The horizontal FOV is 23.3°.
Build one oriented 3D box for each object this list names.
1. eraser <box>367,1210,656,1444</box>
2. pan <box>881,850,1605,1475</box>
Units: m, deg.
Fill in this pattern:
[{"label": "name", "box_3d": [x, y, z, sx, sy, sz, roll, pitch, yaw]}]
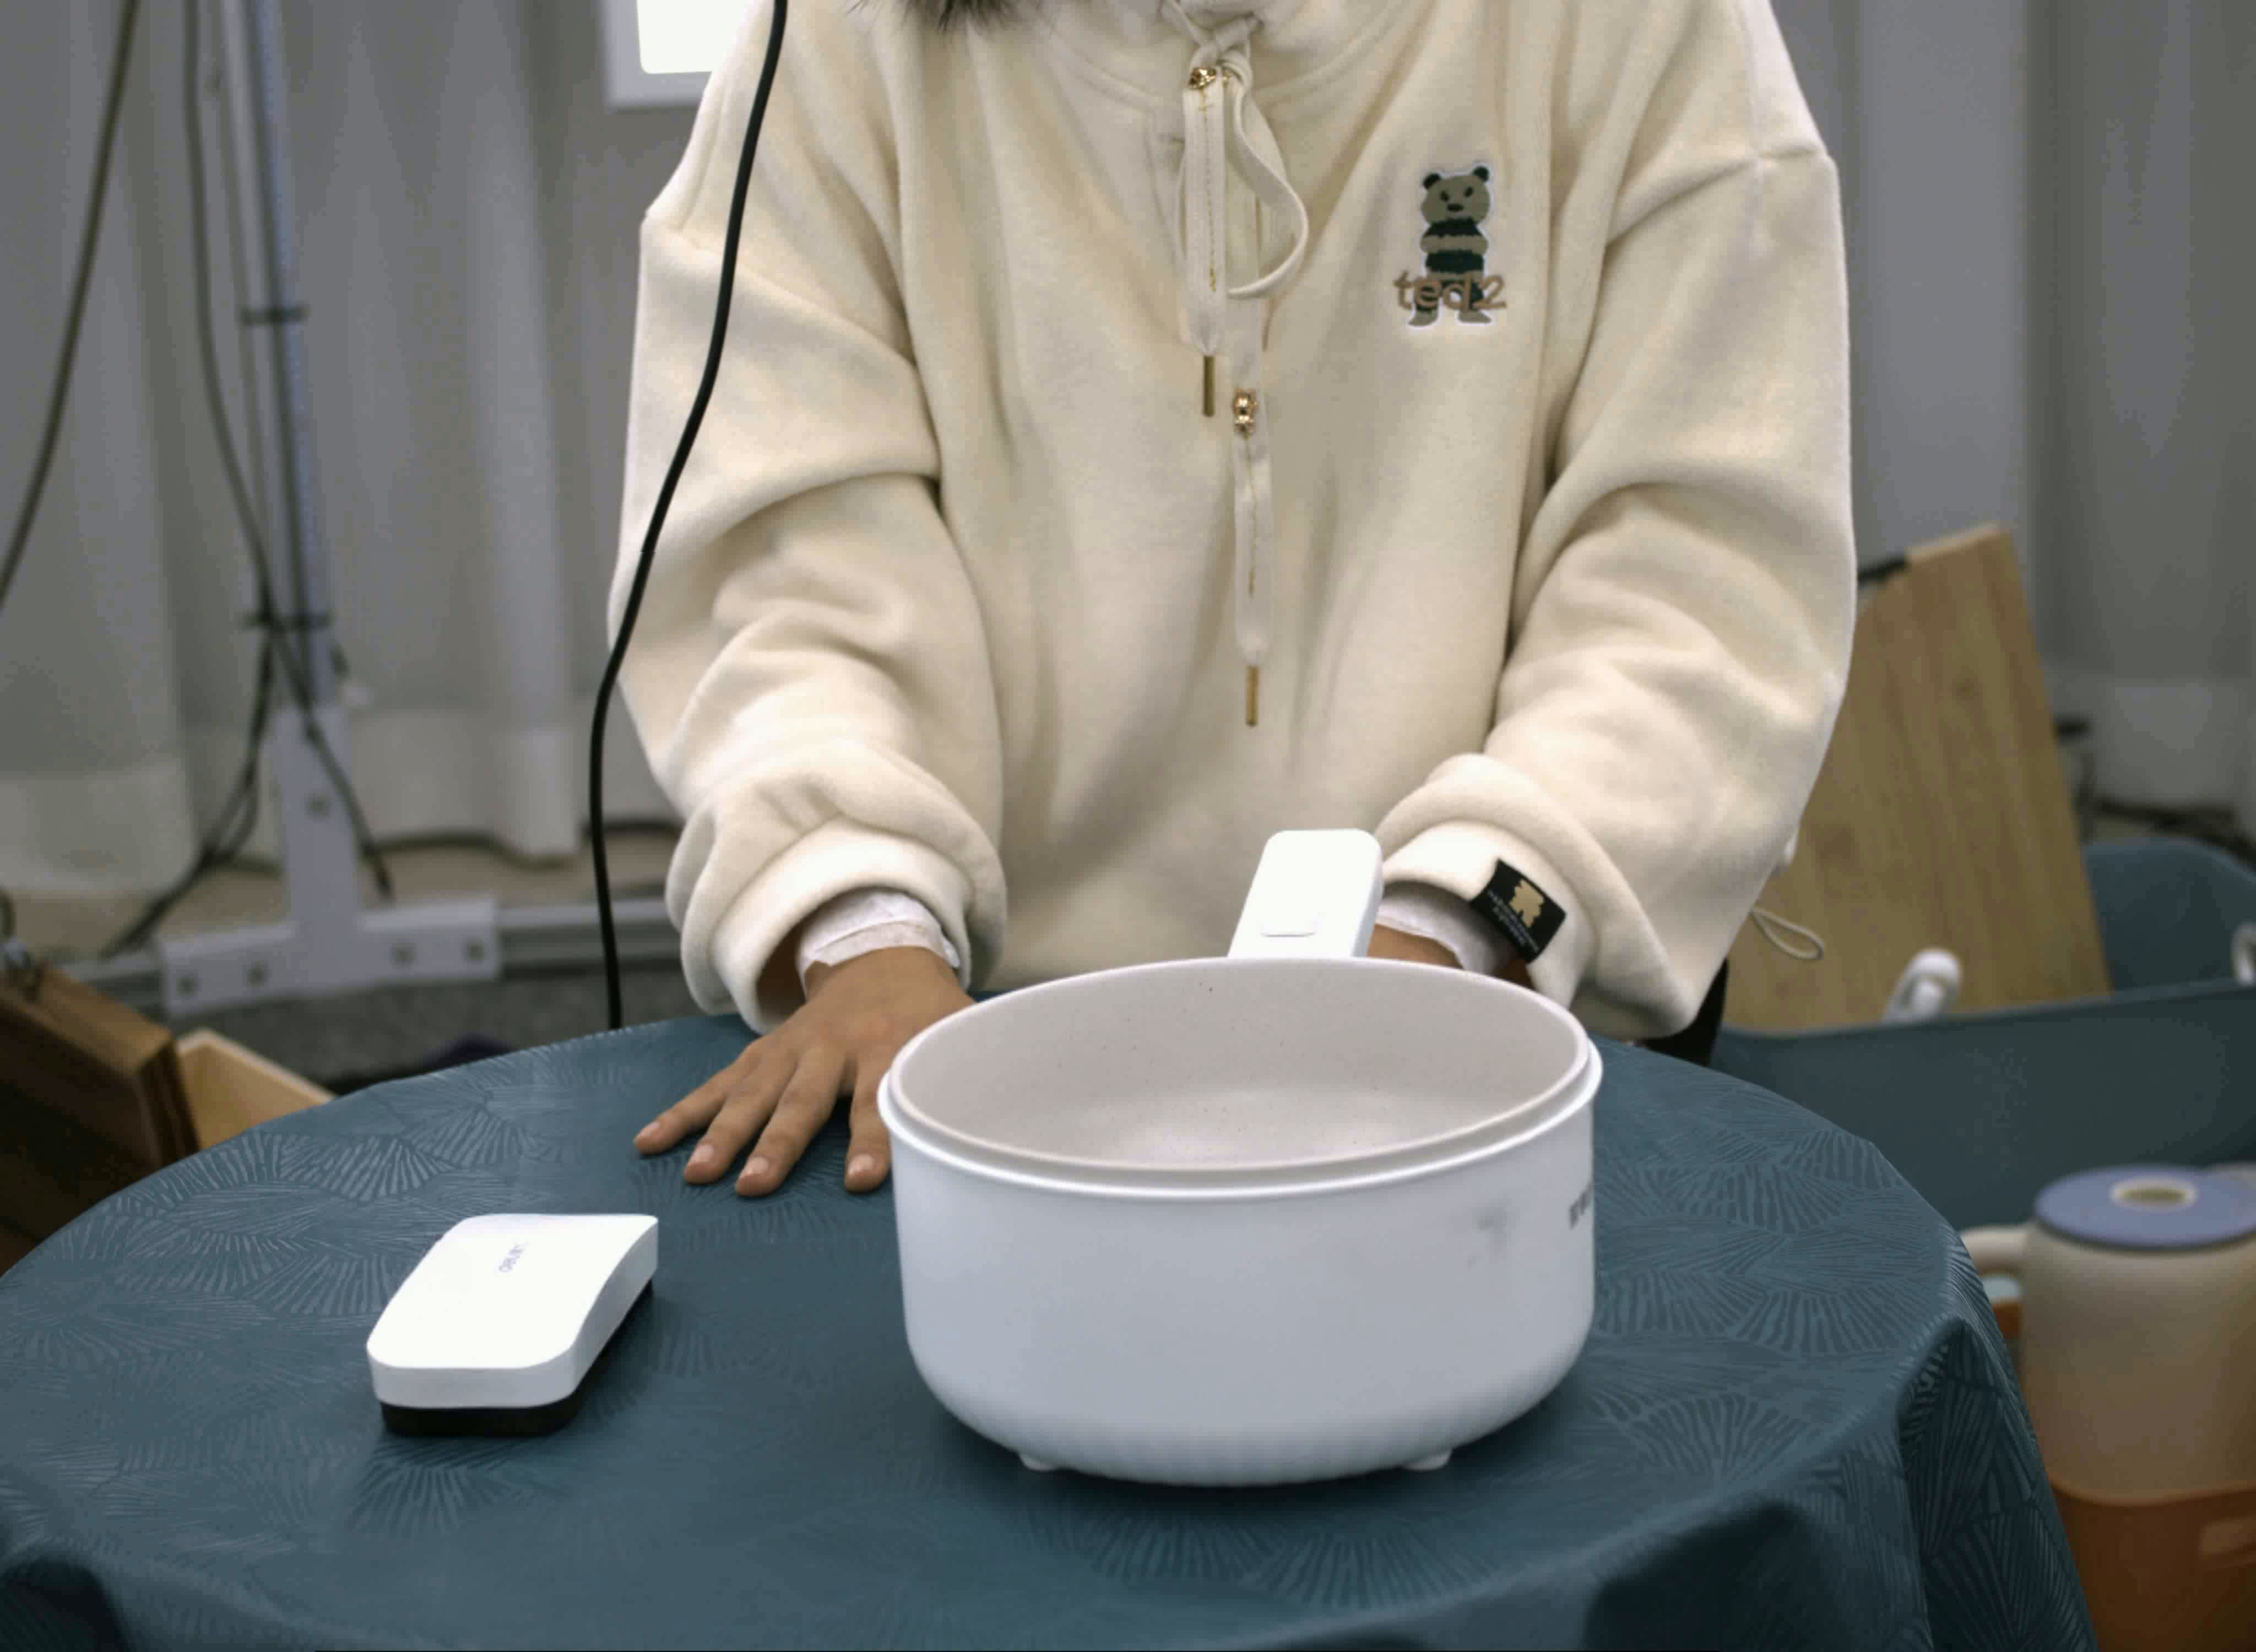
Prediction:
[{"label": "eraser", "box_3d": [-0.176, 0.141, 1.590, 0.063, 0.034, 0.132, 2, 16, 8]}, {"label": "pan", "box_3d": [0.042, 0.093, 1.597, 0.201, 0.102, 0.356, 0, 13, 7]}]
